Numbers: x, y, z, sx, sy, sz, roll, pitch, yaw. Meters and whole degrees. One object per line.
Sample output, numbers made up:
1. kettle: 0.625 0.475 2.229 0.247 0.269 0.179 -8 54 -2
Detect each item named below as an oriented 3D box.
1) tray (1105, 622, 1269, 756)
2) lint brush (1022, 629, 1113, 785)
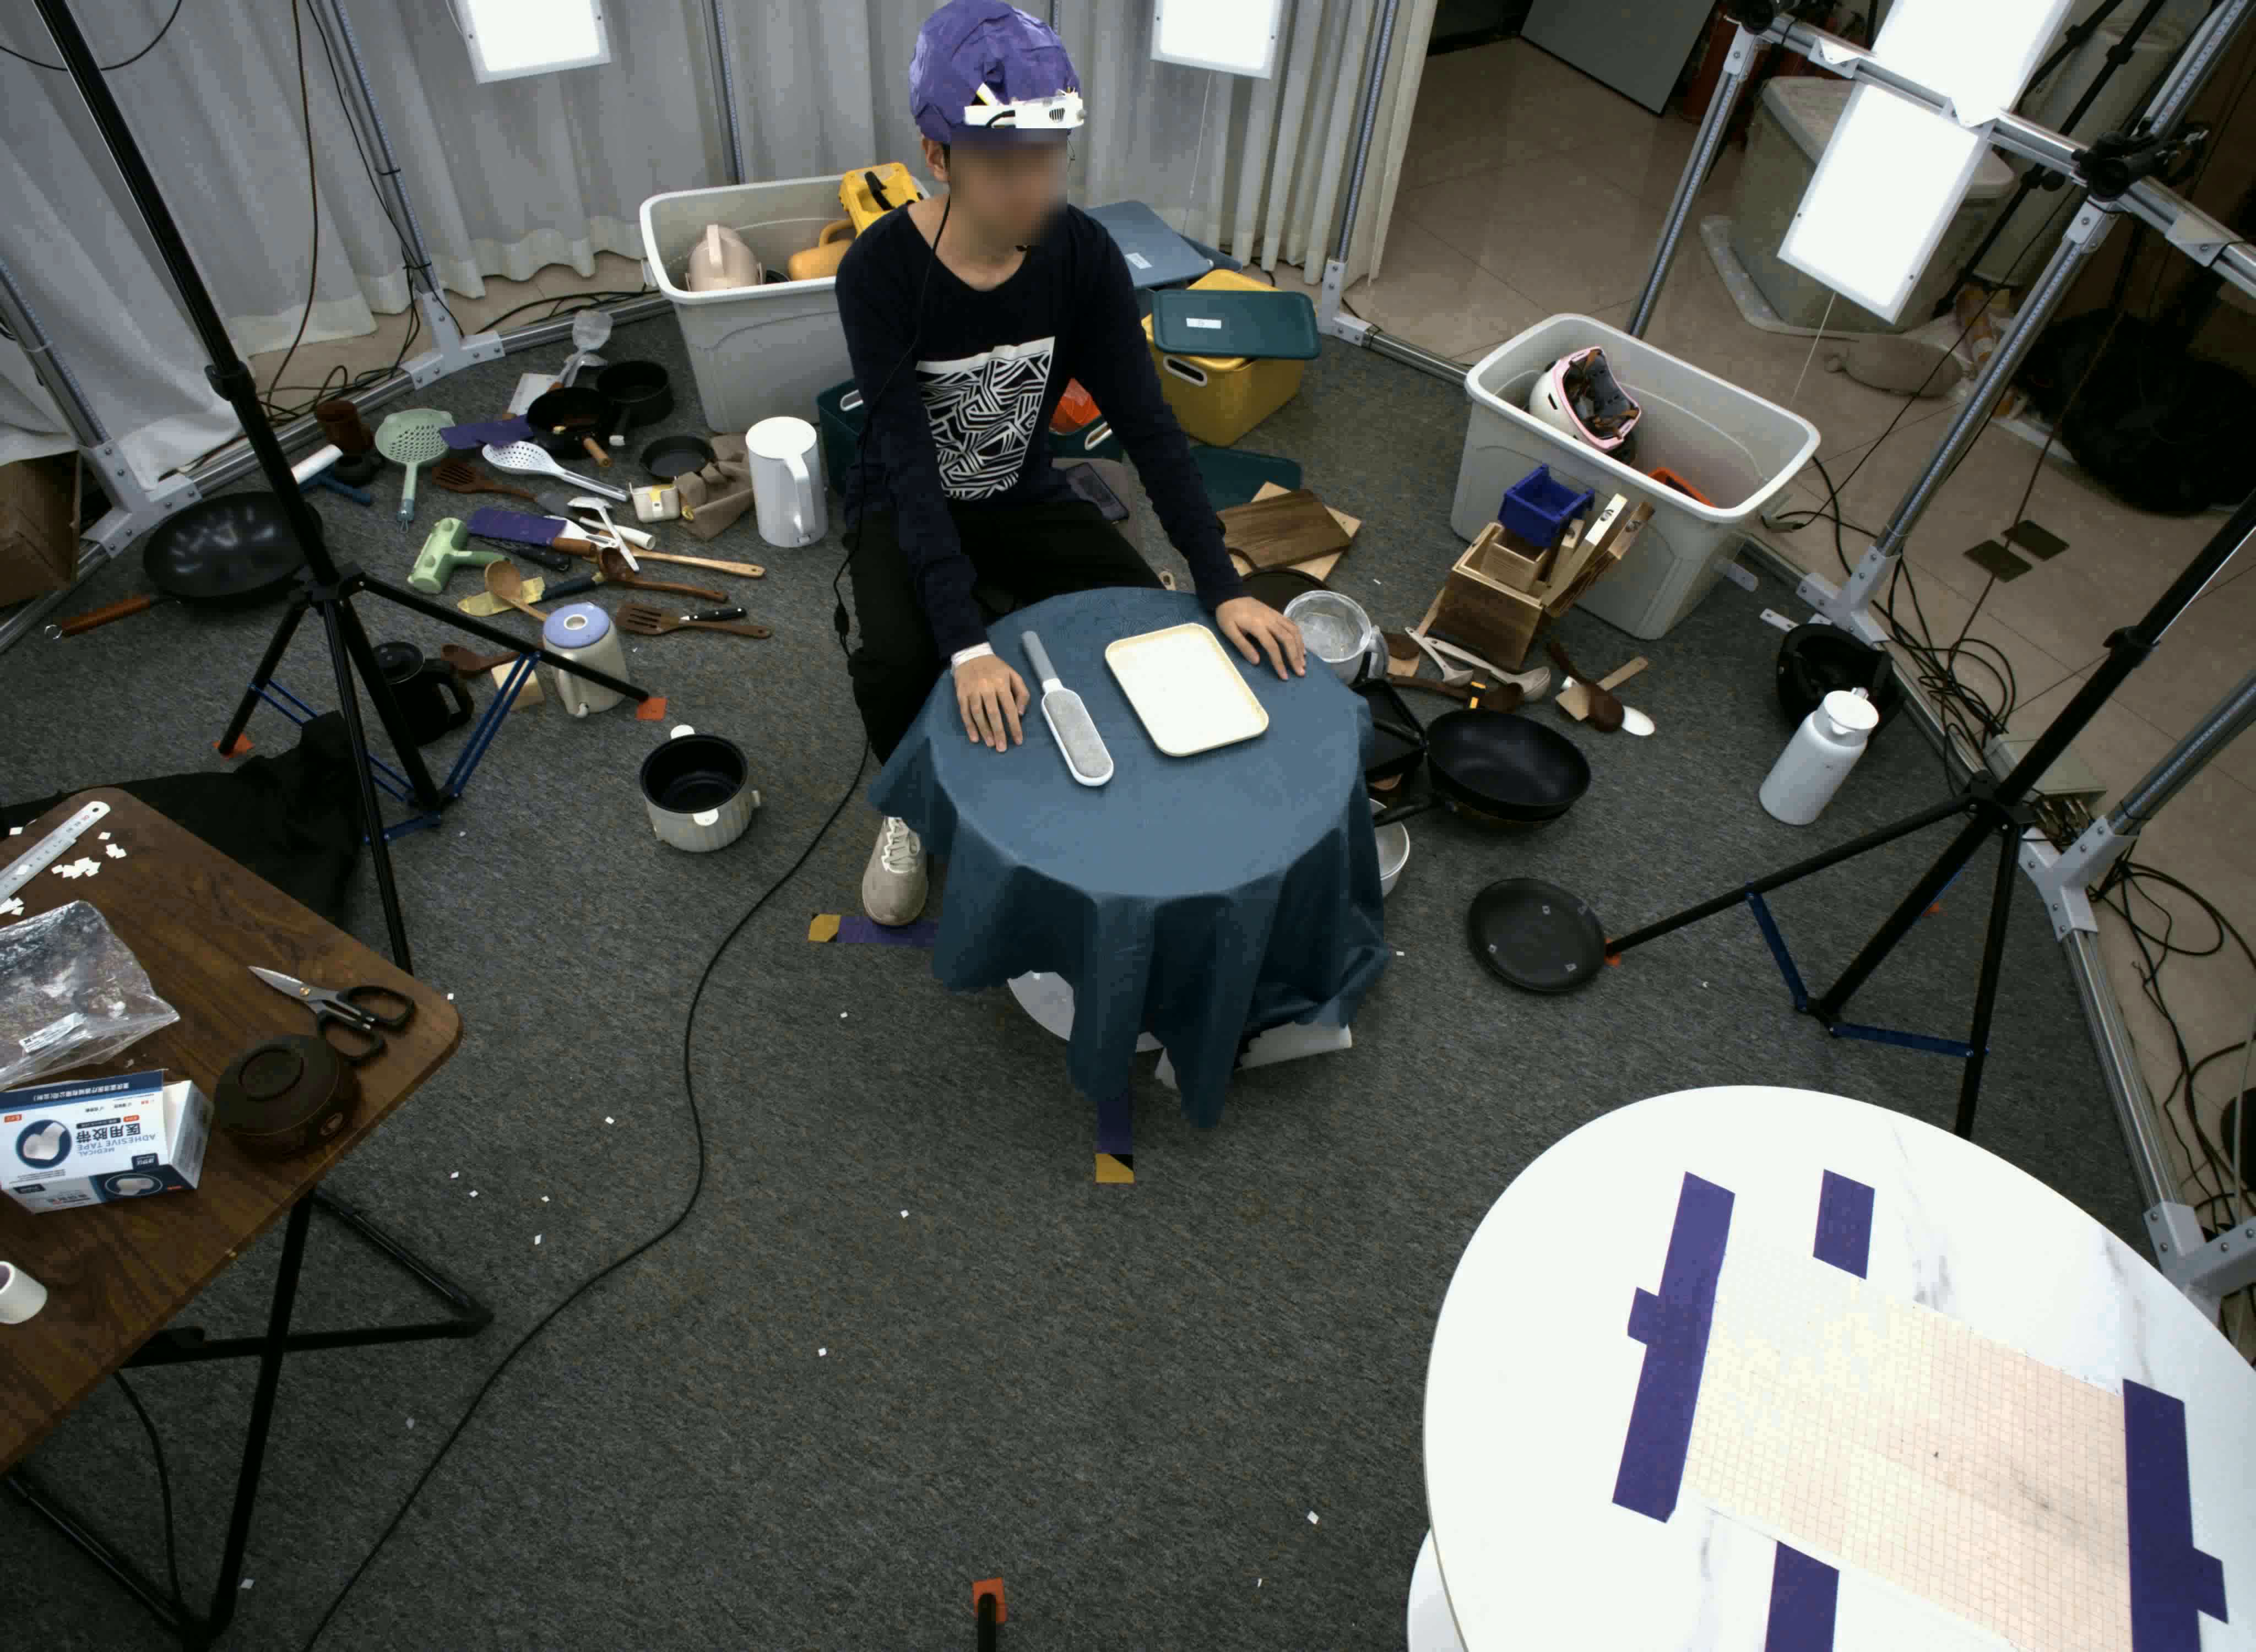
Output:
1. tray: 0.082 -0.197 1.832 0.171 0.017 0.245 -17 52 -17
2. lint brush: -0.091 -0.172 1.793 0.060 0.020 0.316 -17 52 -11
